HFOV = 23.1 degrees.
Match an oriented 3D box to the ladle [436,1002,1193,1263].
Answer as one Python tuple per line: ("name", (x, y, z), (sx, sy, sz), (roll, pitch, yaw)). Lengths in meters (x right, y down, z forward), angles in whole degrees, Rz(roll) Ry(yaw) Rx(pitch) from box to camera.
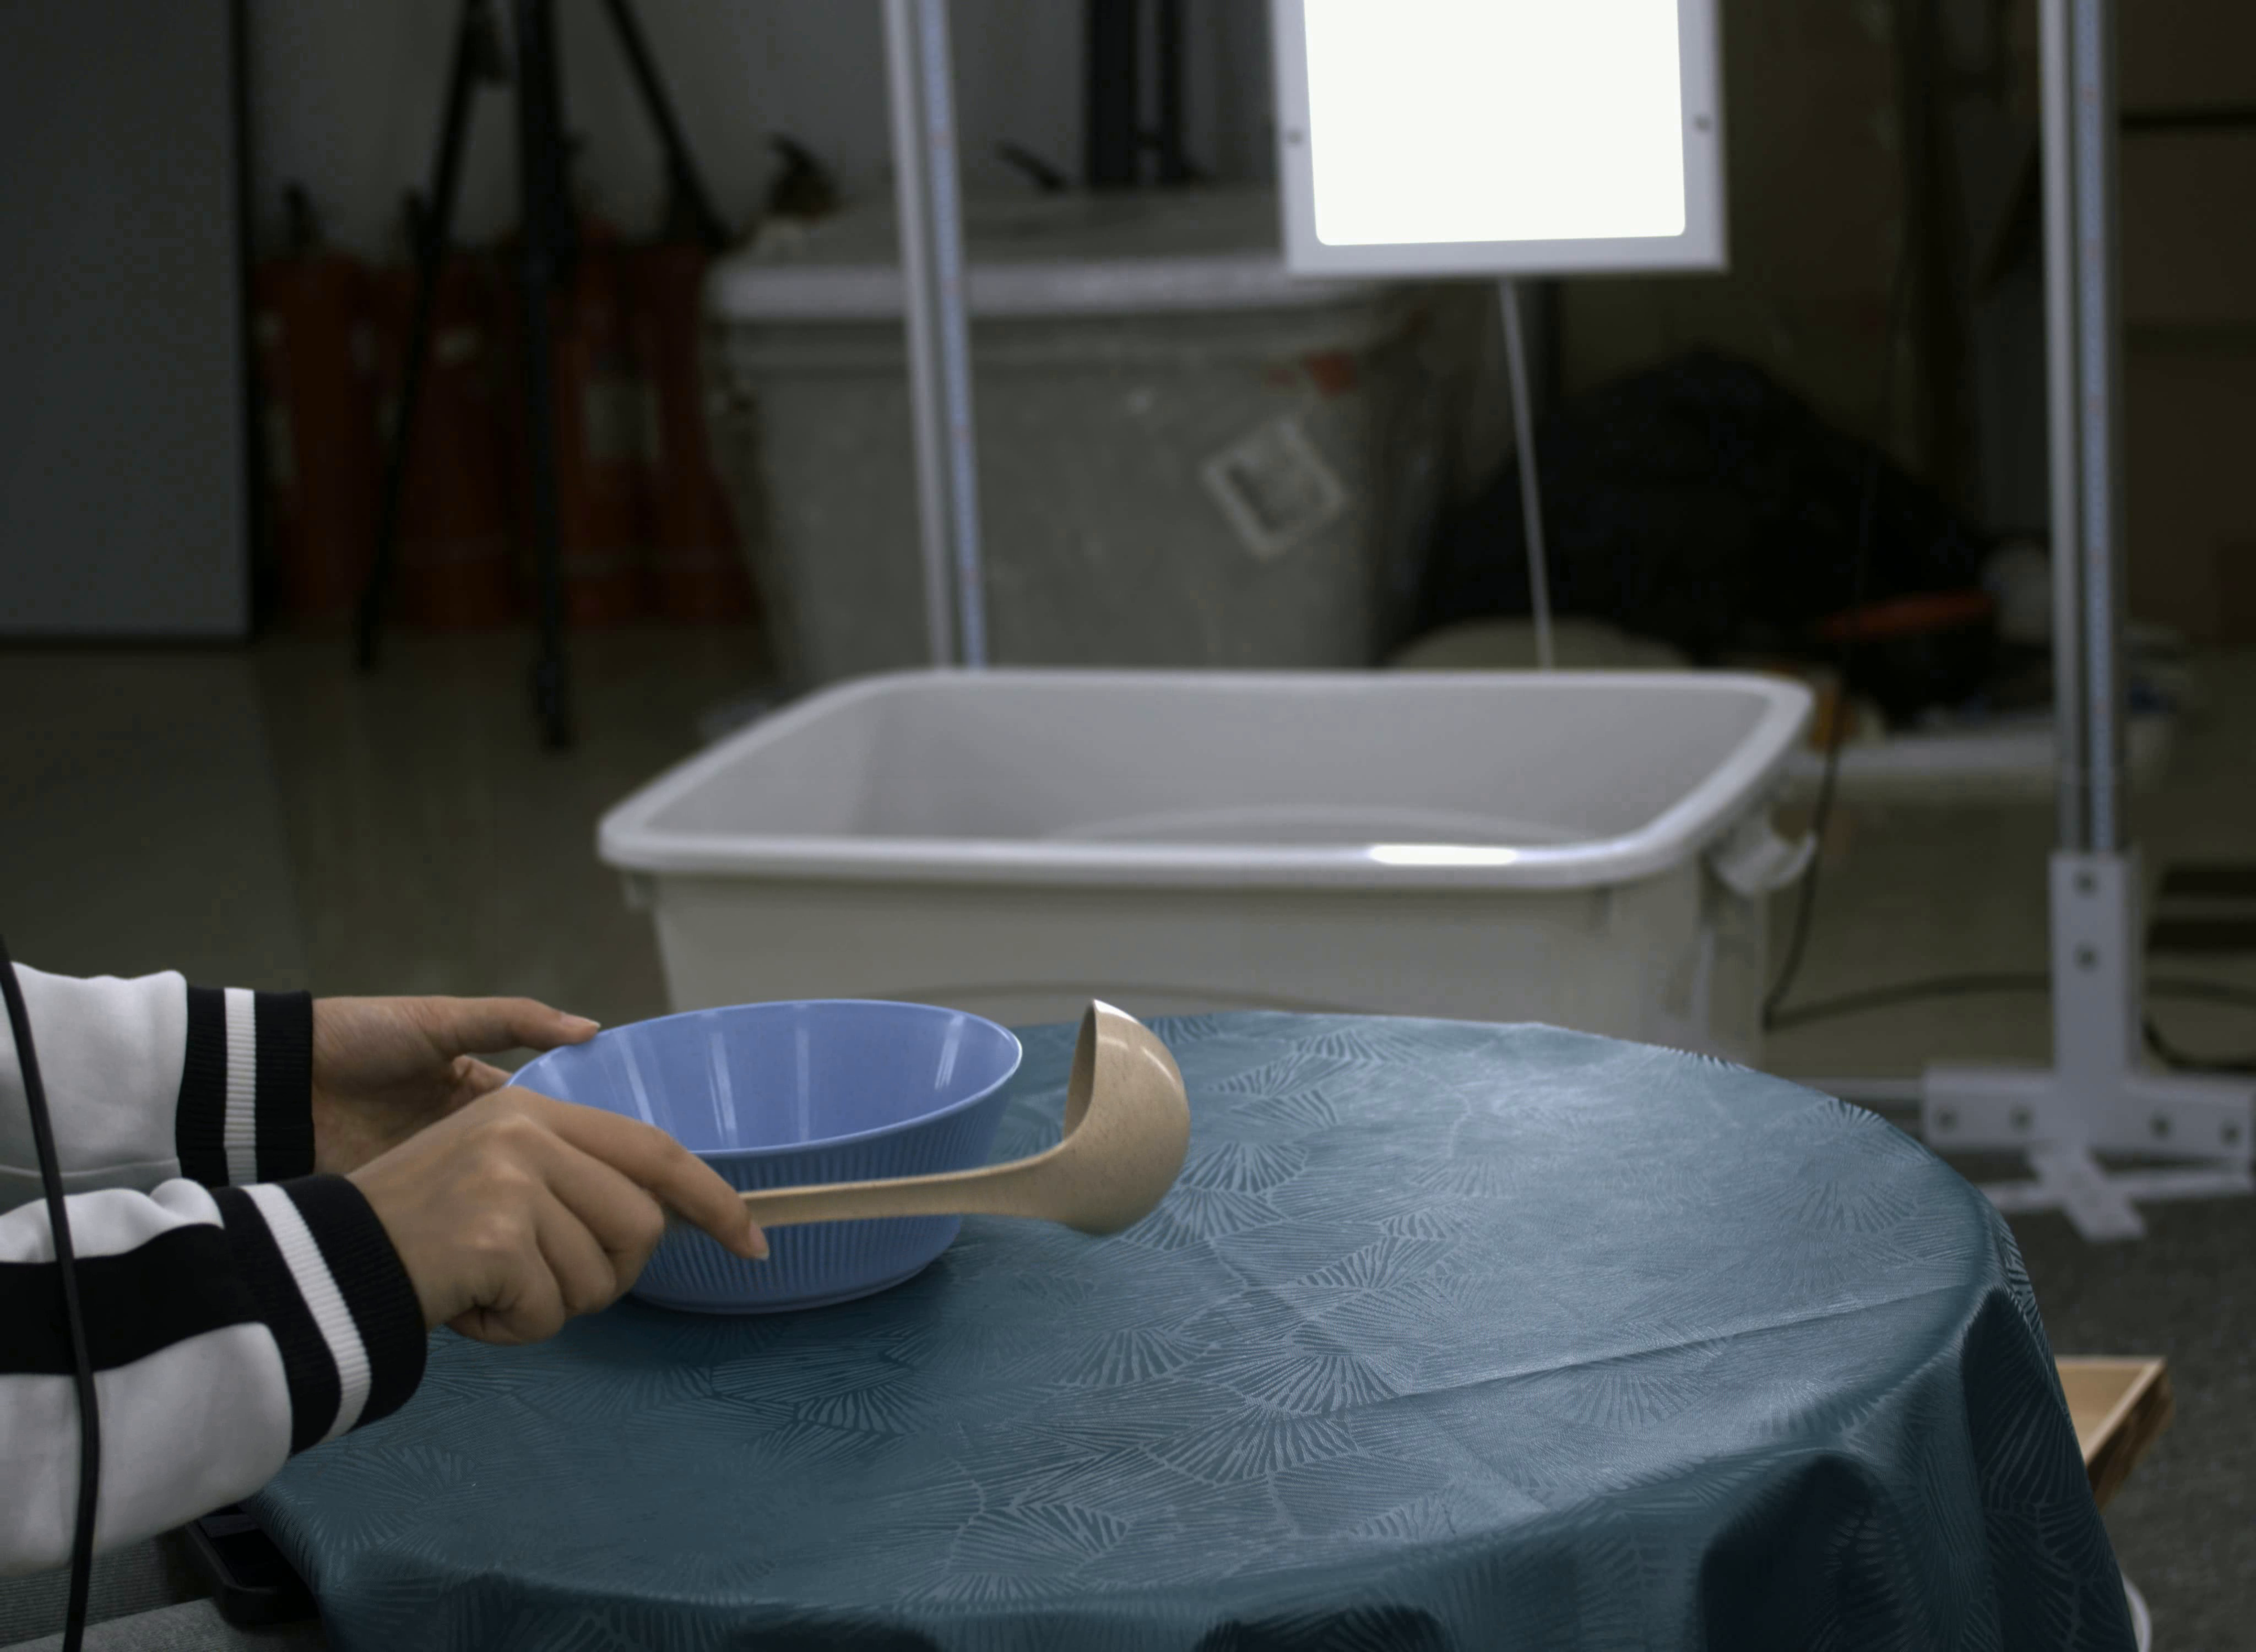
("ladle", (-0.097, 0.091, 1.602), (0.248, 0.073, 0.073), (-1, 38, -30))

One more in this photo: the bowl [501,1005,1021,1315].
("bowl", (-0.120, 0.114, 1.846), (0.175, 0.070, 0.176), (-5, 13, 0))
